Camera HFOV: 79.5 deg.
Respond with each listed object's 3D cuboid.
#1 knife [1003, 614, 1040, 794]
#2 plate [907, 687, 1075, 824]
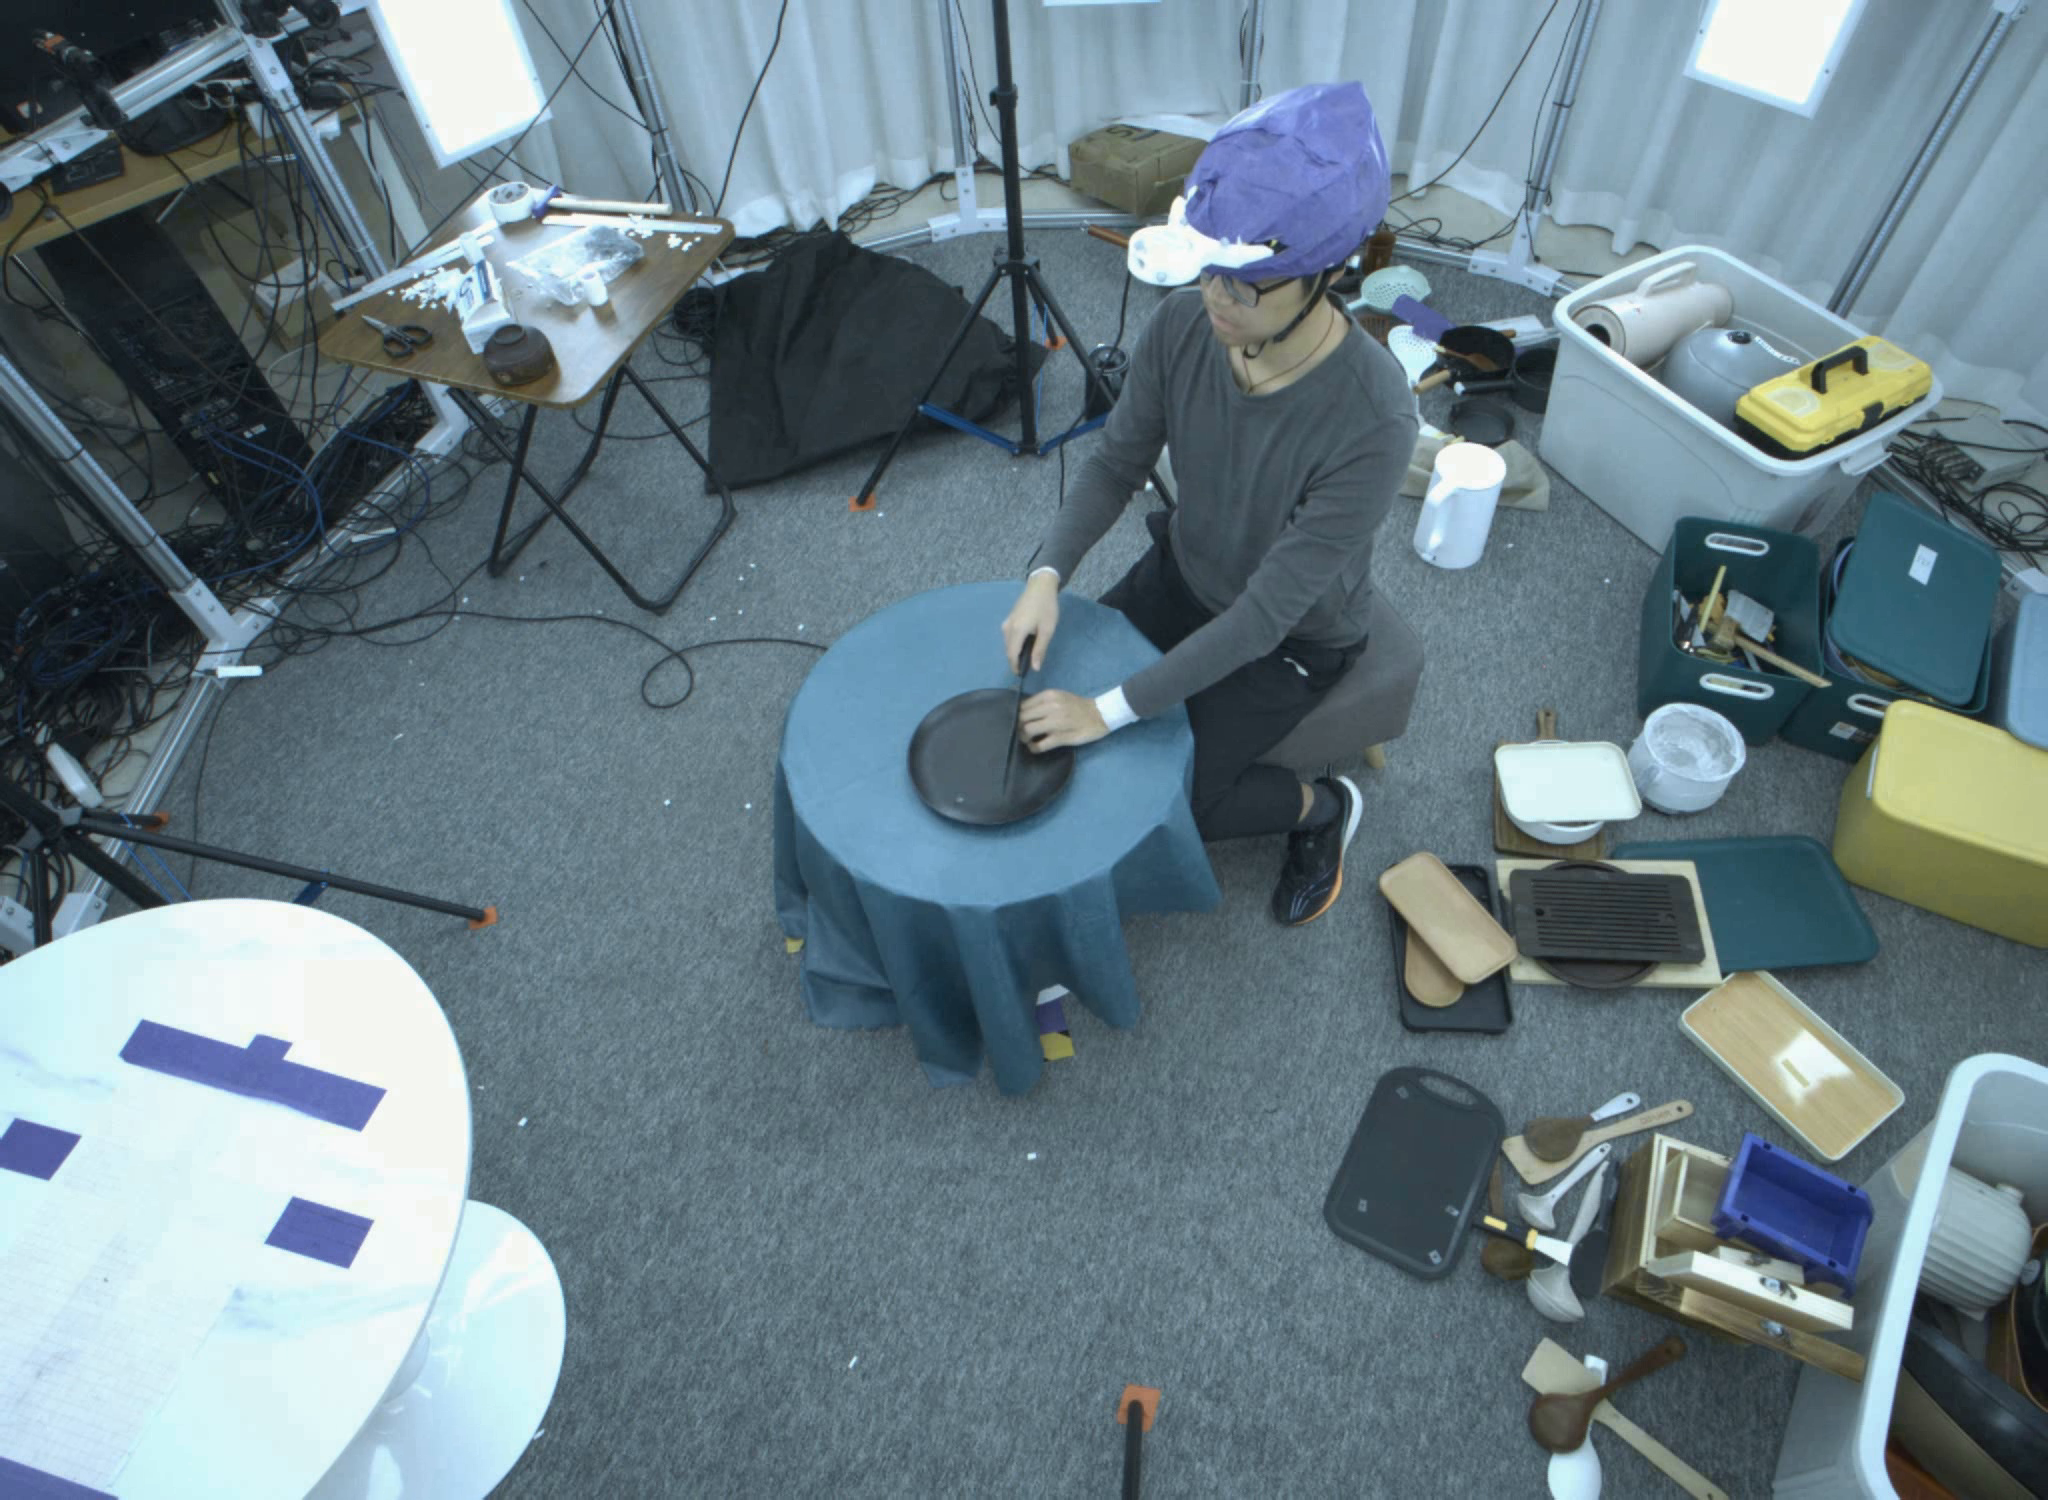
[{"bbox_3d":[-0.007,-0.076,1.772,0.021,0.081,0.300,7,59,4],"label":"knife"},{"bbox_3d":[-0.048,0.009,1.776,0.244,0.023,0.242,0,54,1],"label":"plate"}]
